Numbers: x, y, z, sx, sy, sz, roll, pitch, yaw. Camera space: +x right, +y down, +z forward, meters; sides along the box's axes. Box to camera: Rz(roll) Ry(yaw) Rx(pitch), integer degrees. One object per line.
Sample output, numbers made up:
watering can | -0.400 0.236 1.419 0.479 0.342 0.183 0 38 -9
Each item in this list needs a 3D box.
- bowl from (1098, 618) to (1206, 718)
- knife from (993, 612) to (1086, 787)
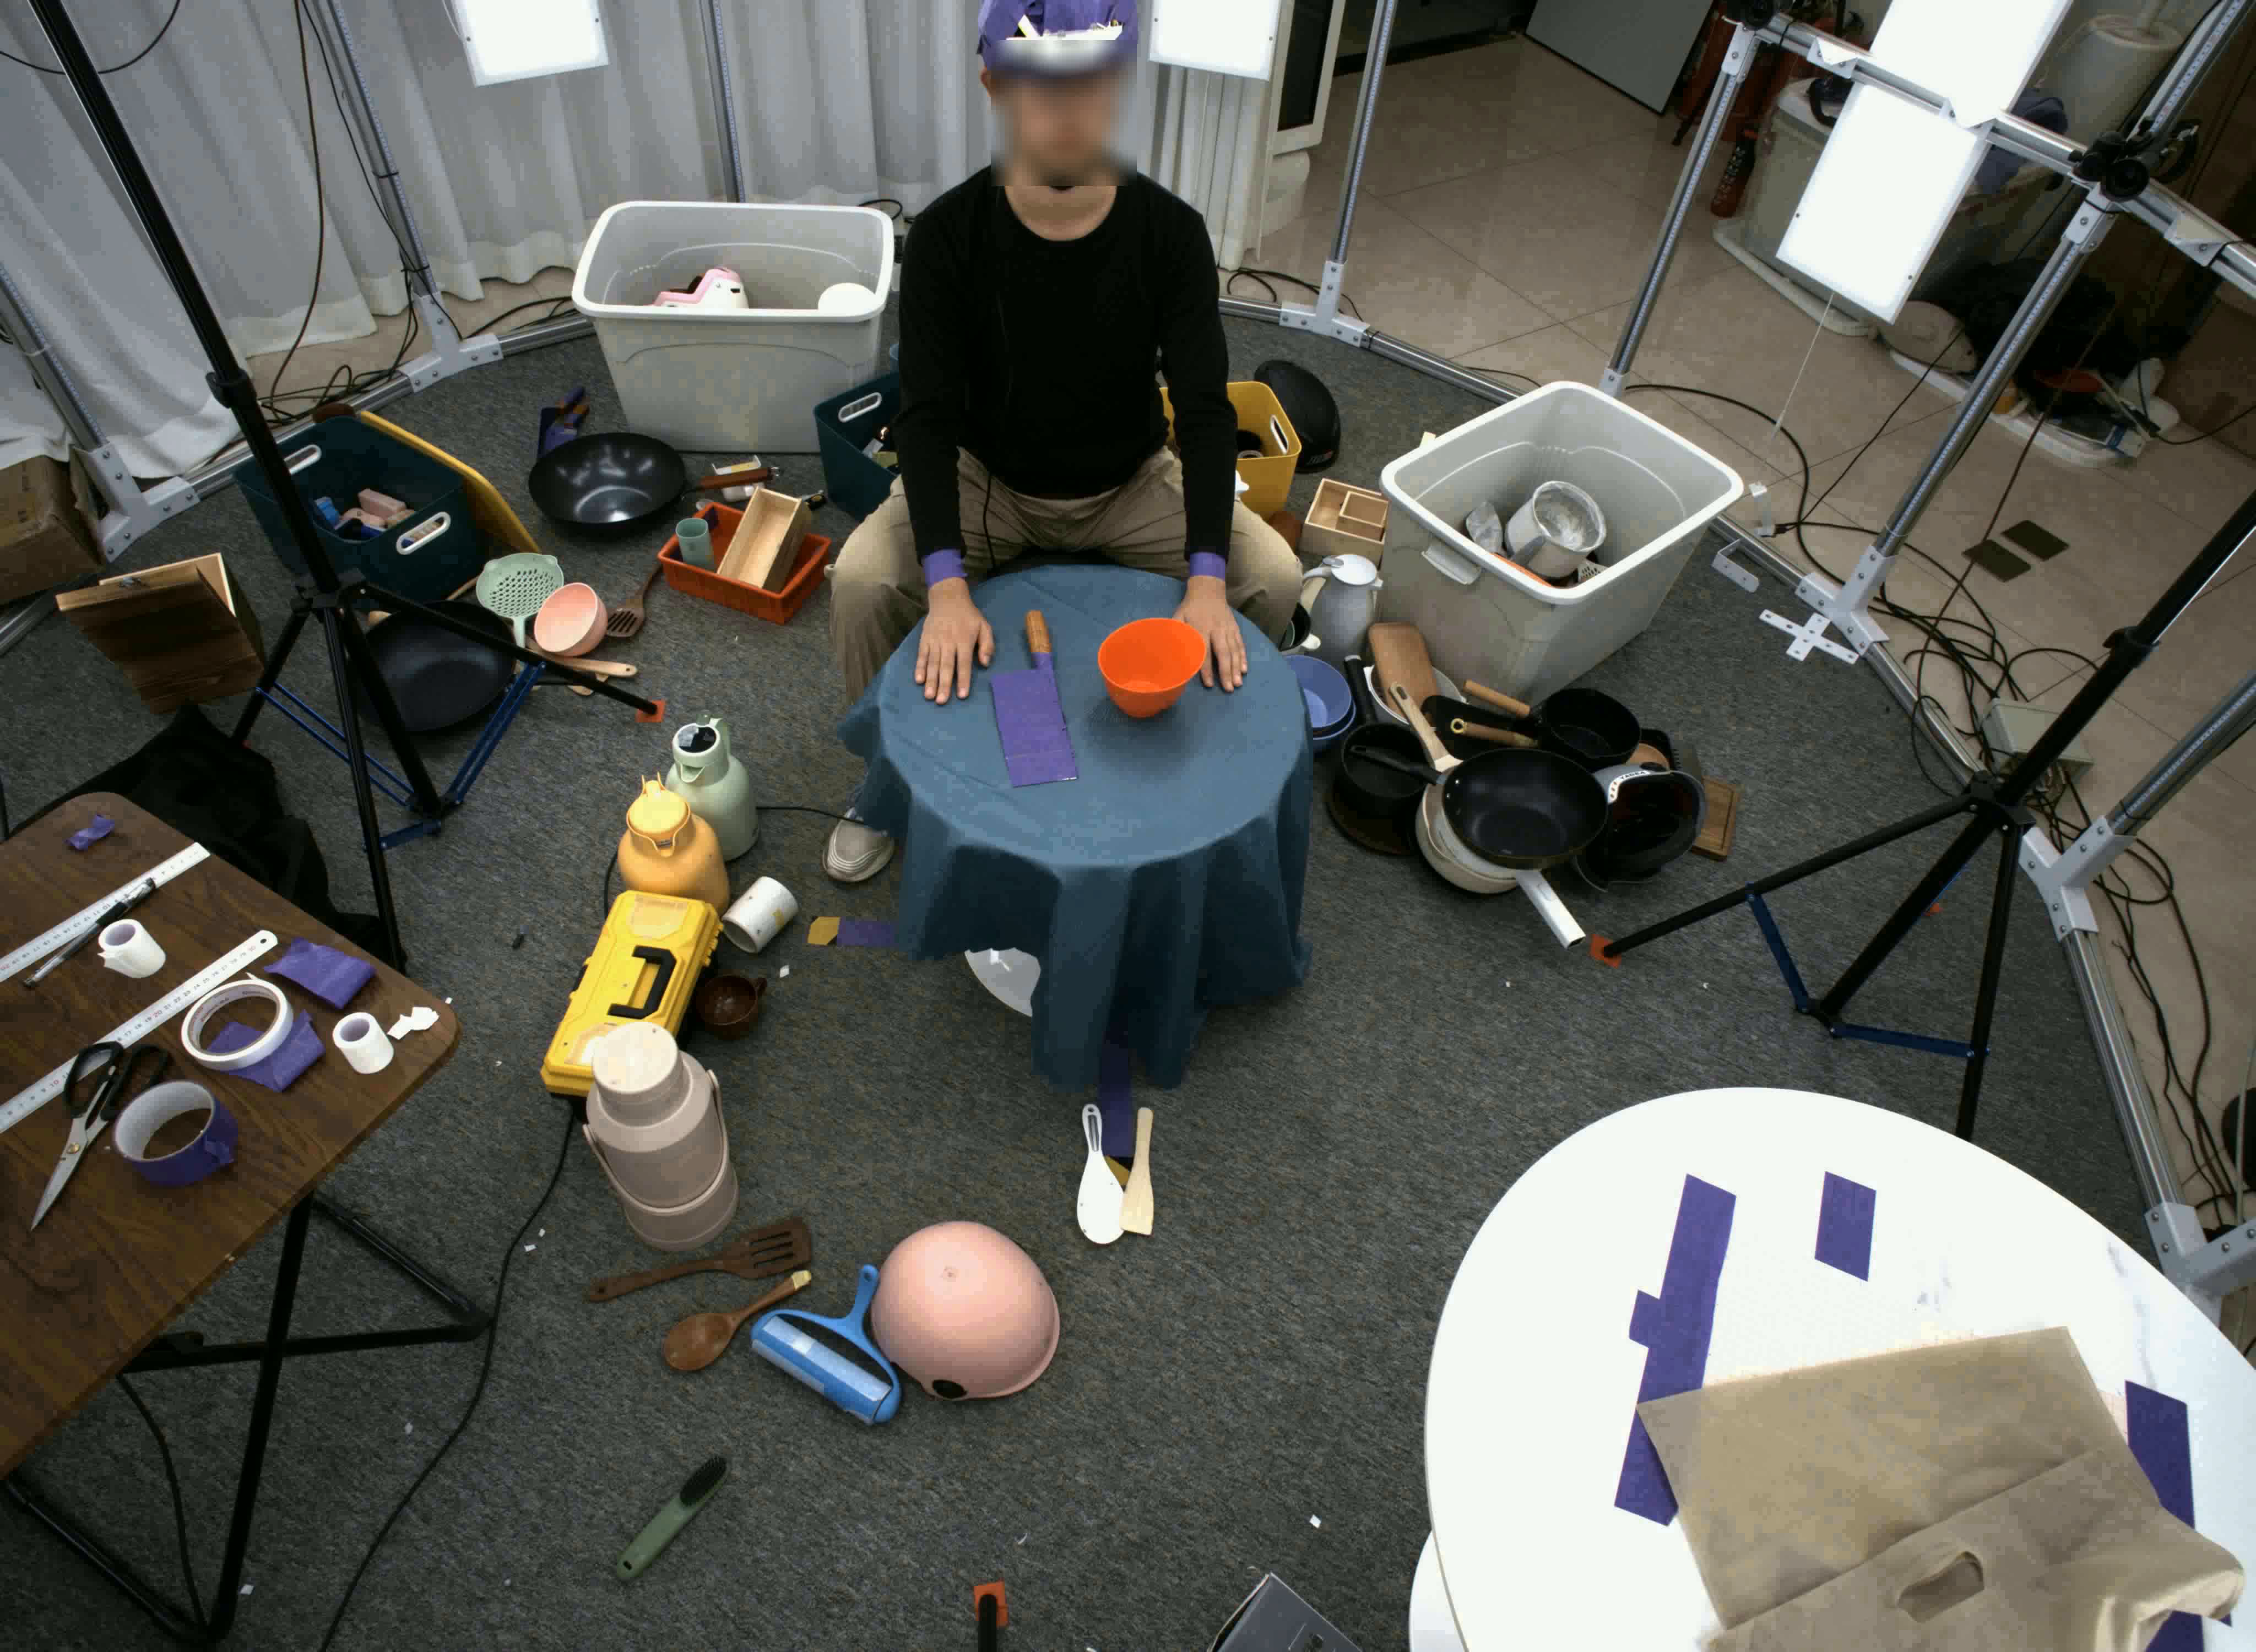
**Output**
bowl | 0.031 -0.209 1.787 0.148 0.102 0.152 1 50 -2
knife | -0.138 -0.183 1.802 0.104 0.031 0.323 -7 51 -10
